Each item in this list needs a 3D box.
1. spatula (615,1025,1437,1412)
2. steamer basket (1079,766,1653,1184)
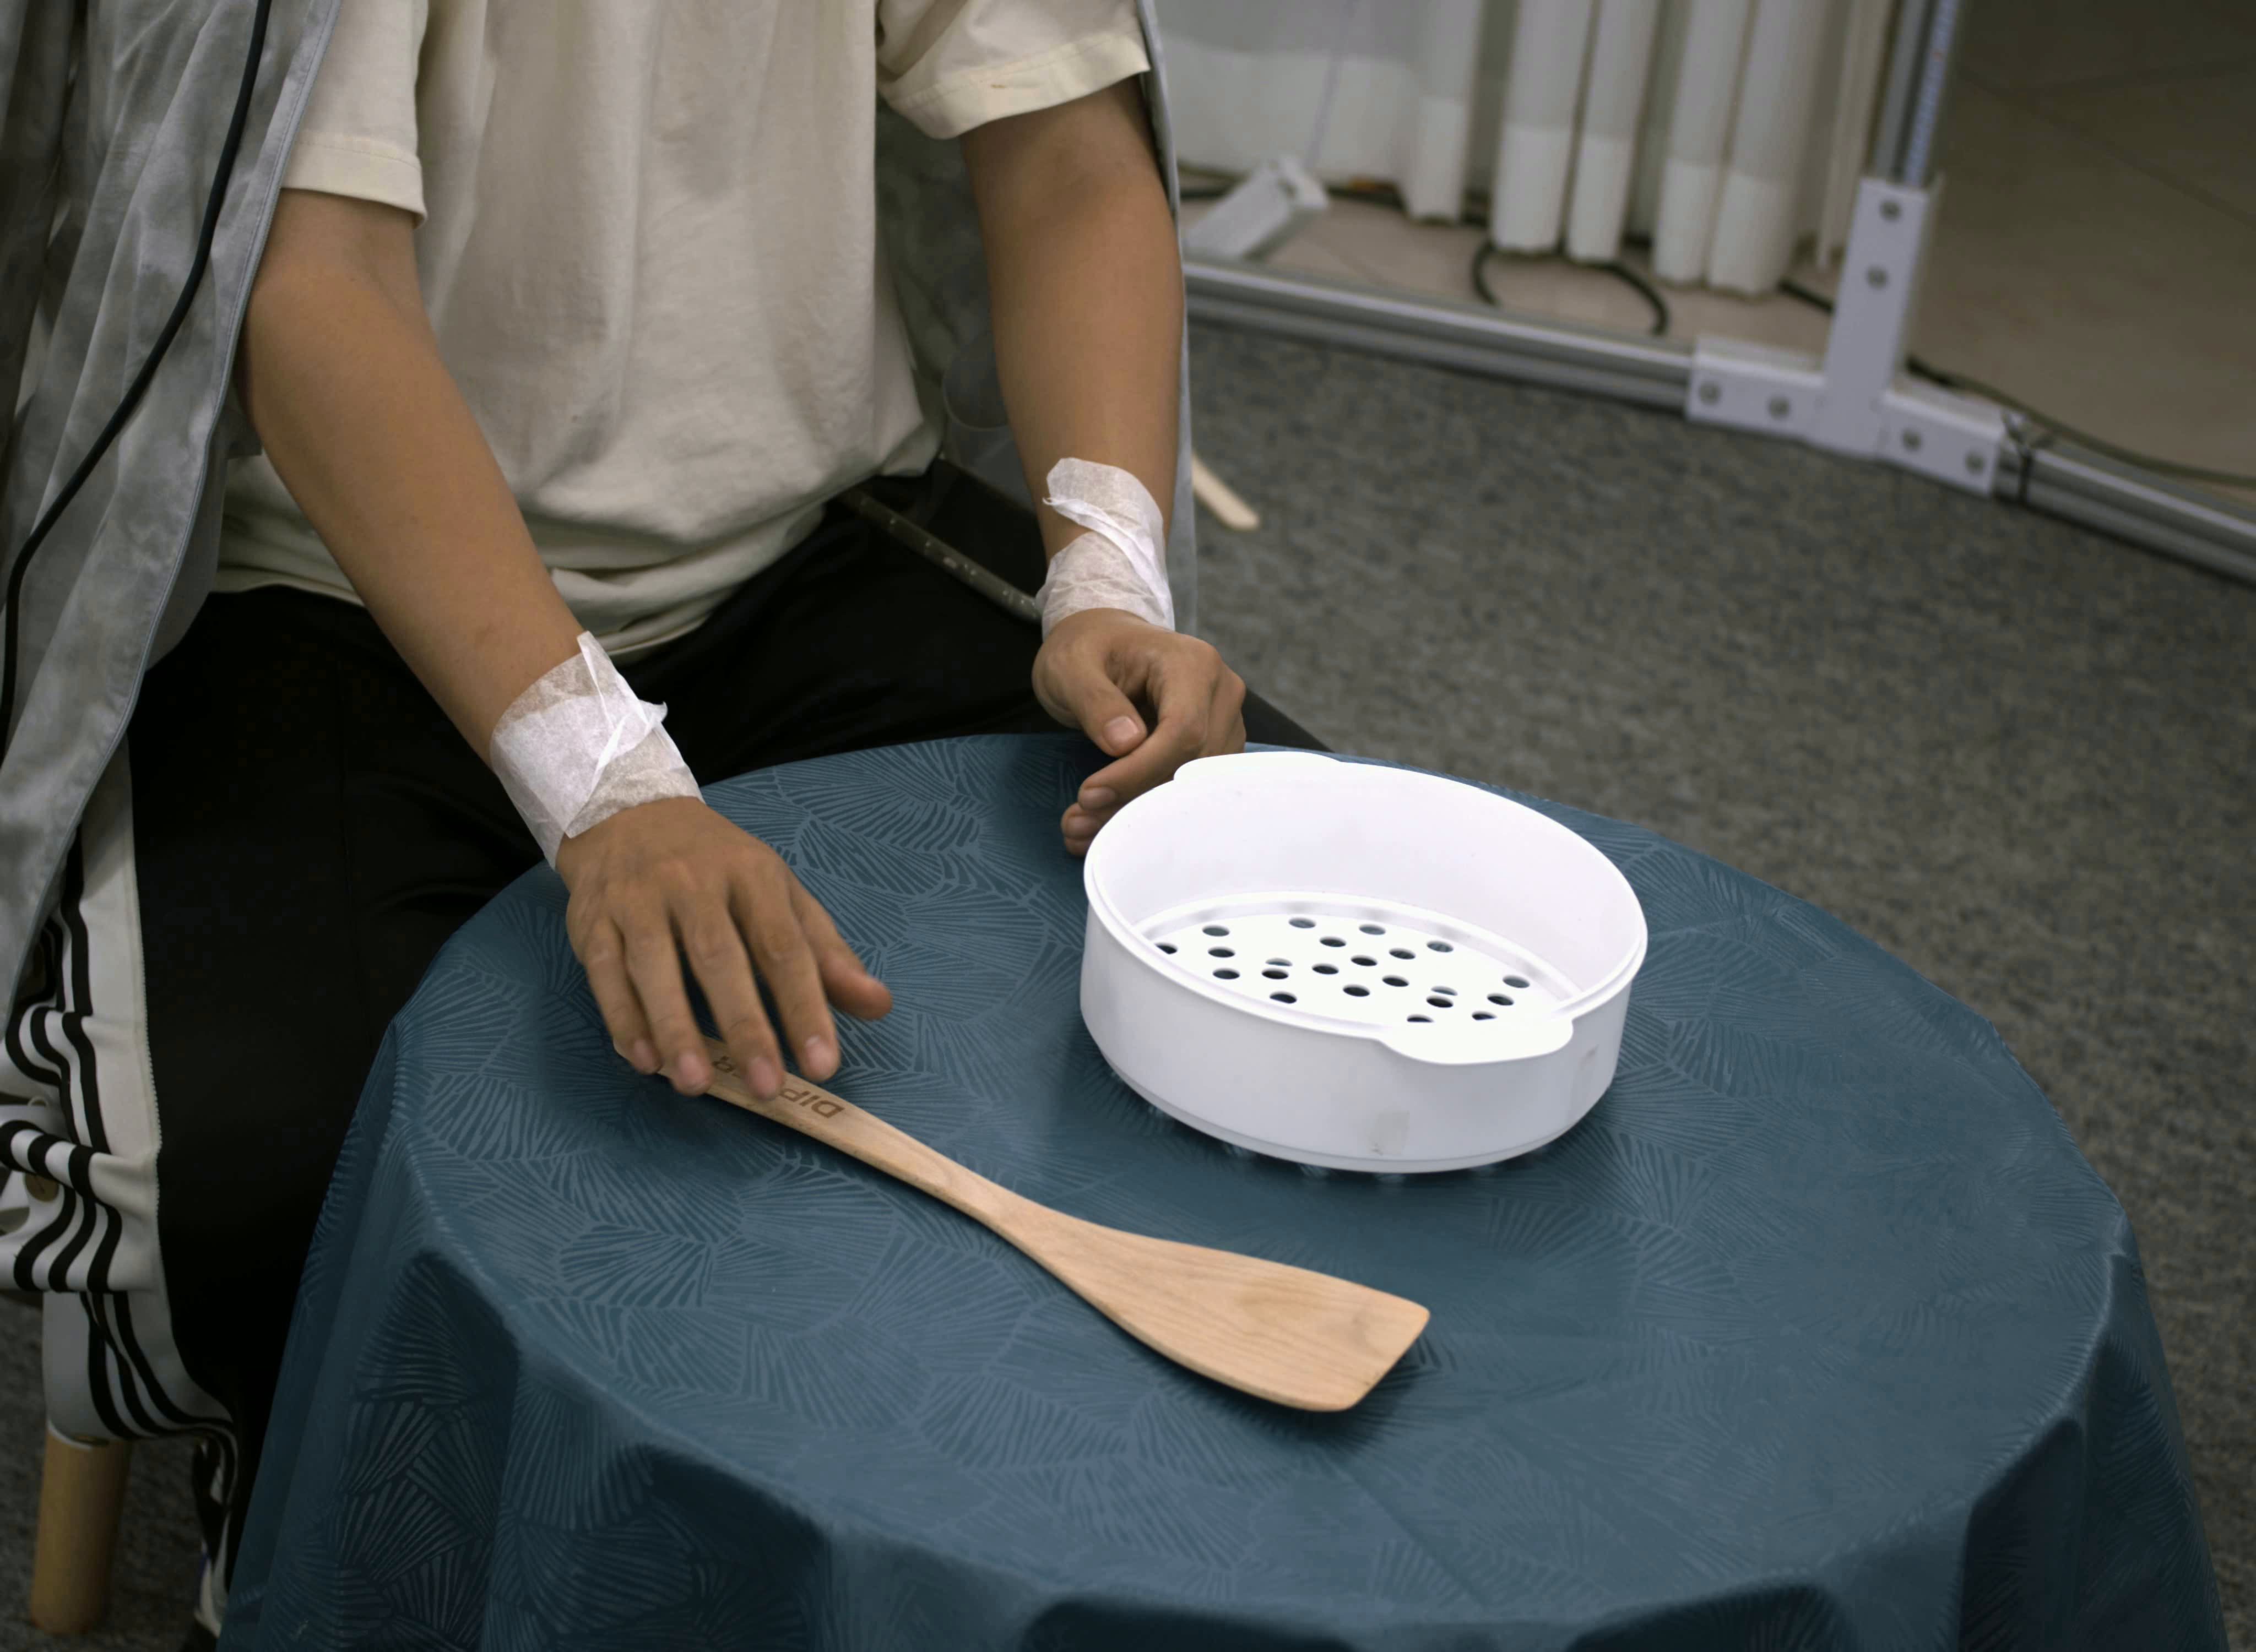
[{"bbox_3d":[-0.042,0.124,1.776,0.329,0.016,0.079,22,30,29],"label":"spatula"},{"bbox_3d":[0.082,0.054,1.888,0.200,0.069,0.232,-3,28,-21],"label":"steamer basket"}]
